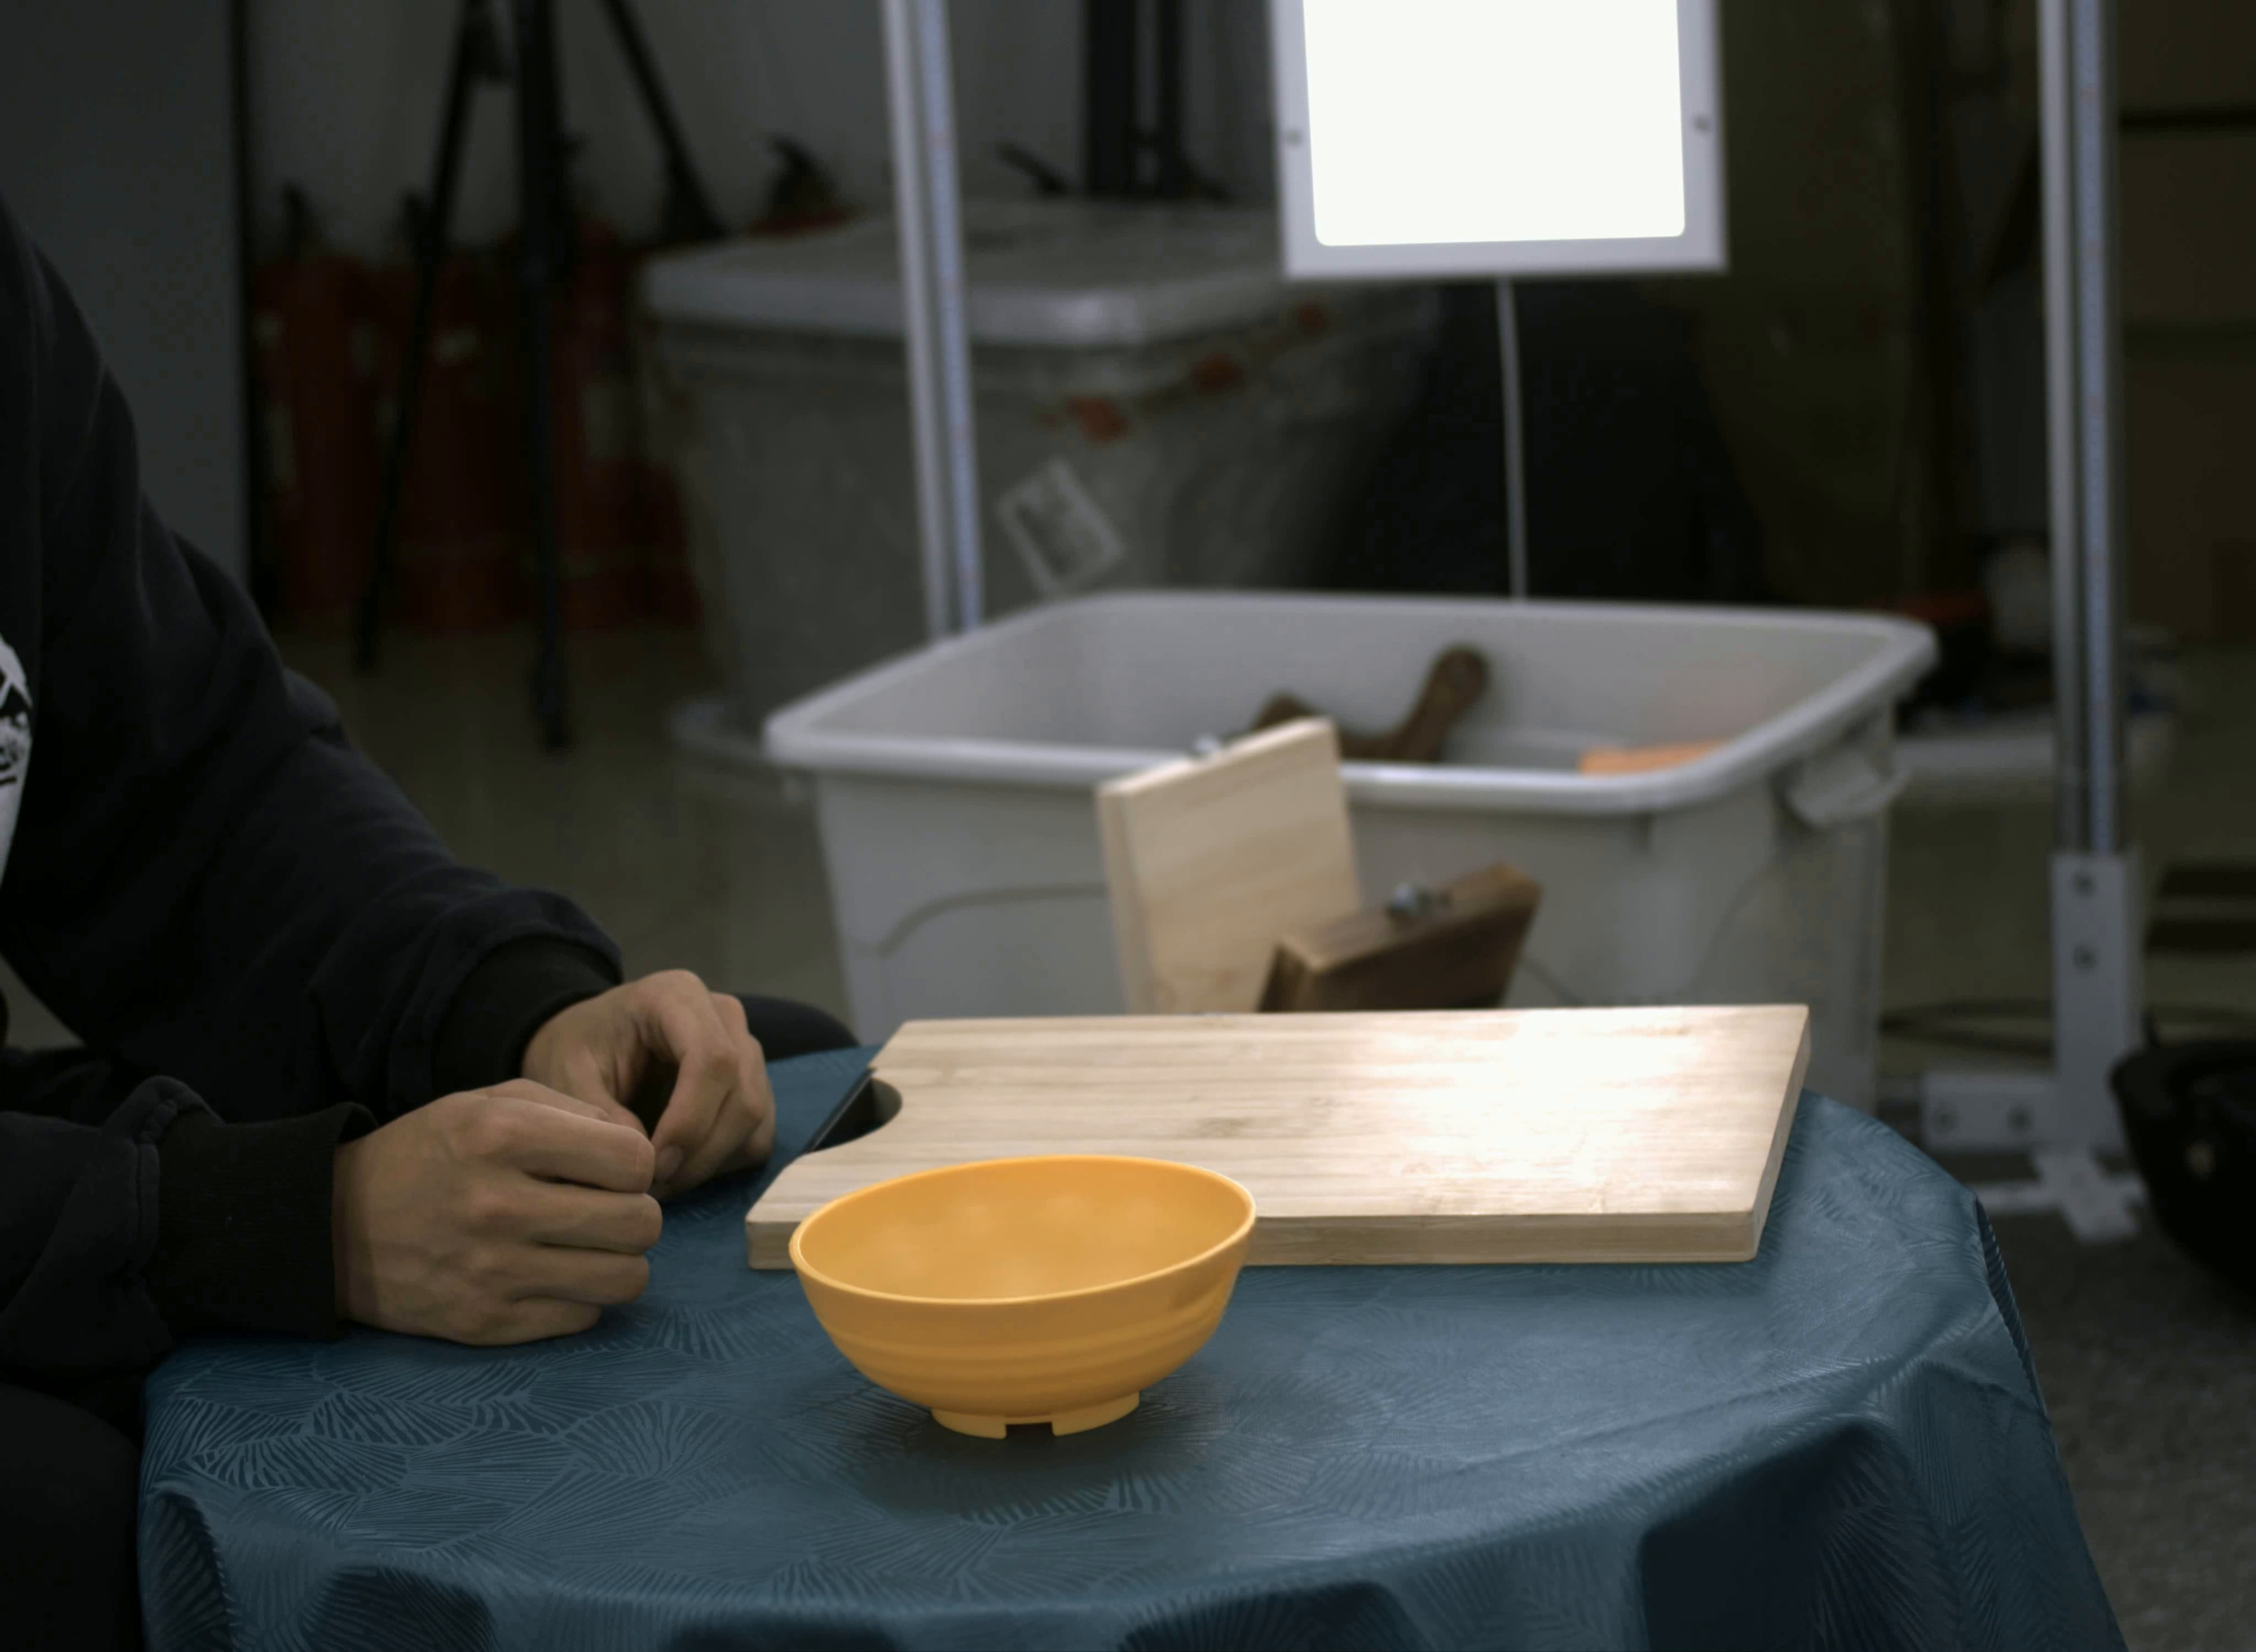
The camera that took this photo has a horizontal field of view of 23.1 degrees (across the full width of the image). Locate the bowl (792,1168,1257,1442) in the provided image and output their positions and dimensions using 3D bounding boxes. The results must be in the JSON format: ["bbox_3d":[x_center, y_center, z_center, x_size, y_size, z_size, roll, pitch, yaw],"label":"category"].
[{"bbox_3d":[-0.029,0.151,1.690,0.145,0.060,0.145,-5,11,0],"label":"bowl"}]

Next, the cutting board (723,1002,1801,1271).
[{"bbox_3d":[0.055,0.107,1.922,0.351,0.023,0.248,-2,14,13],"label":"cutting board"}]
